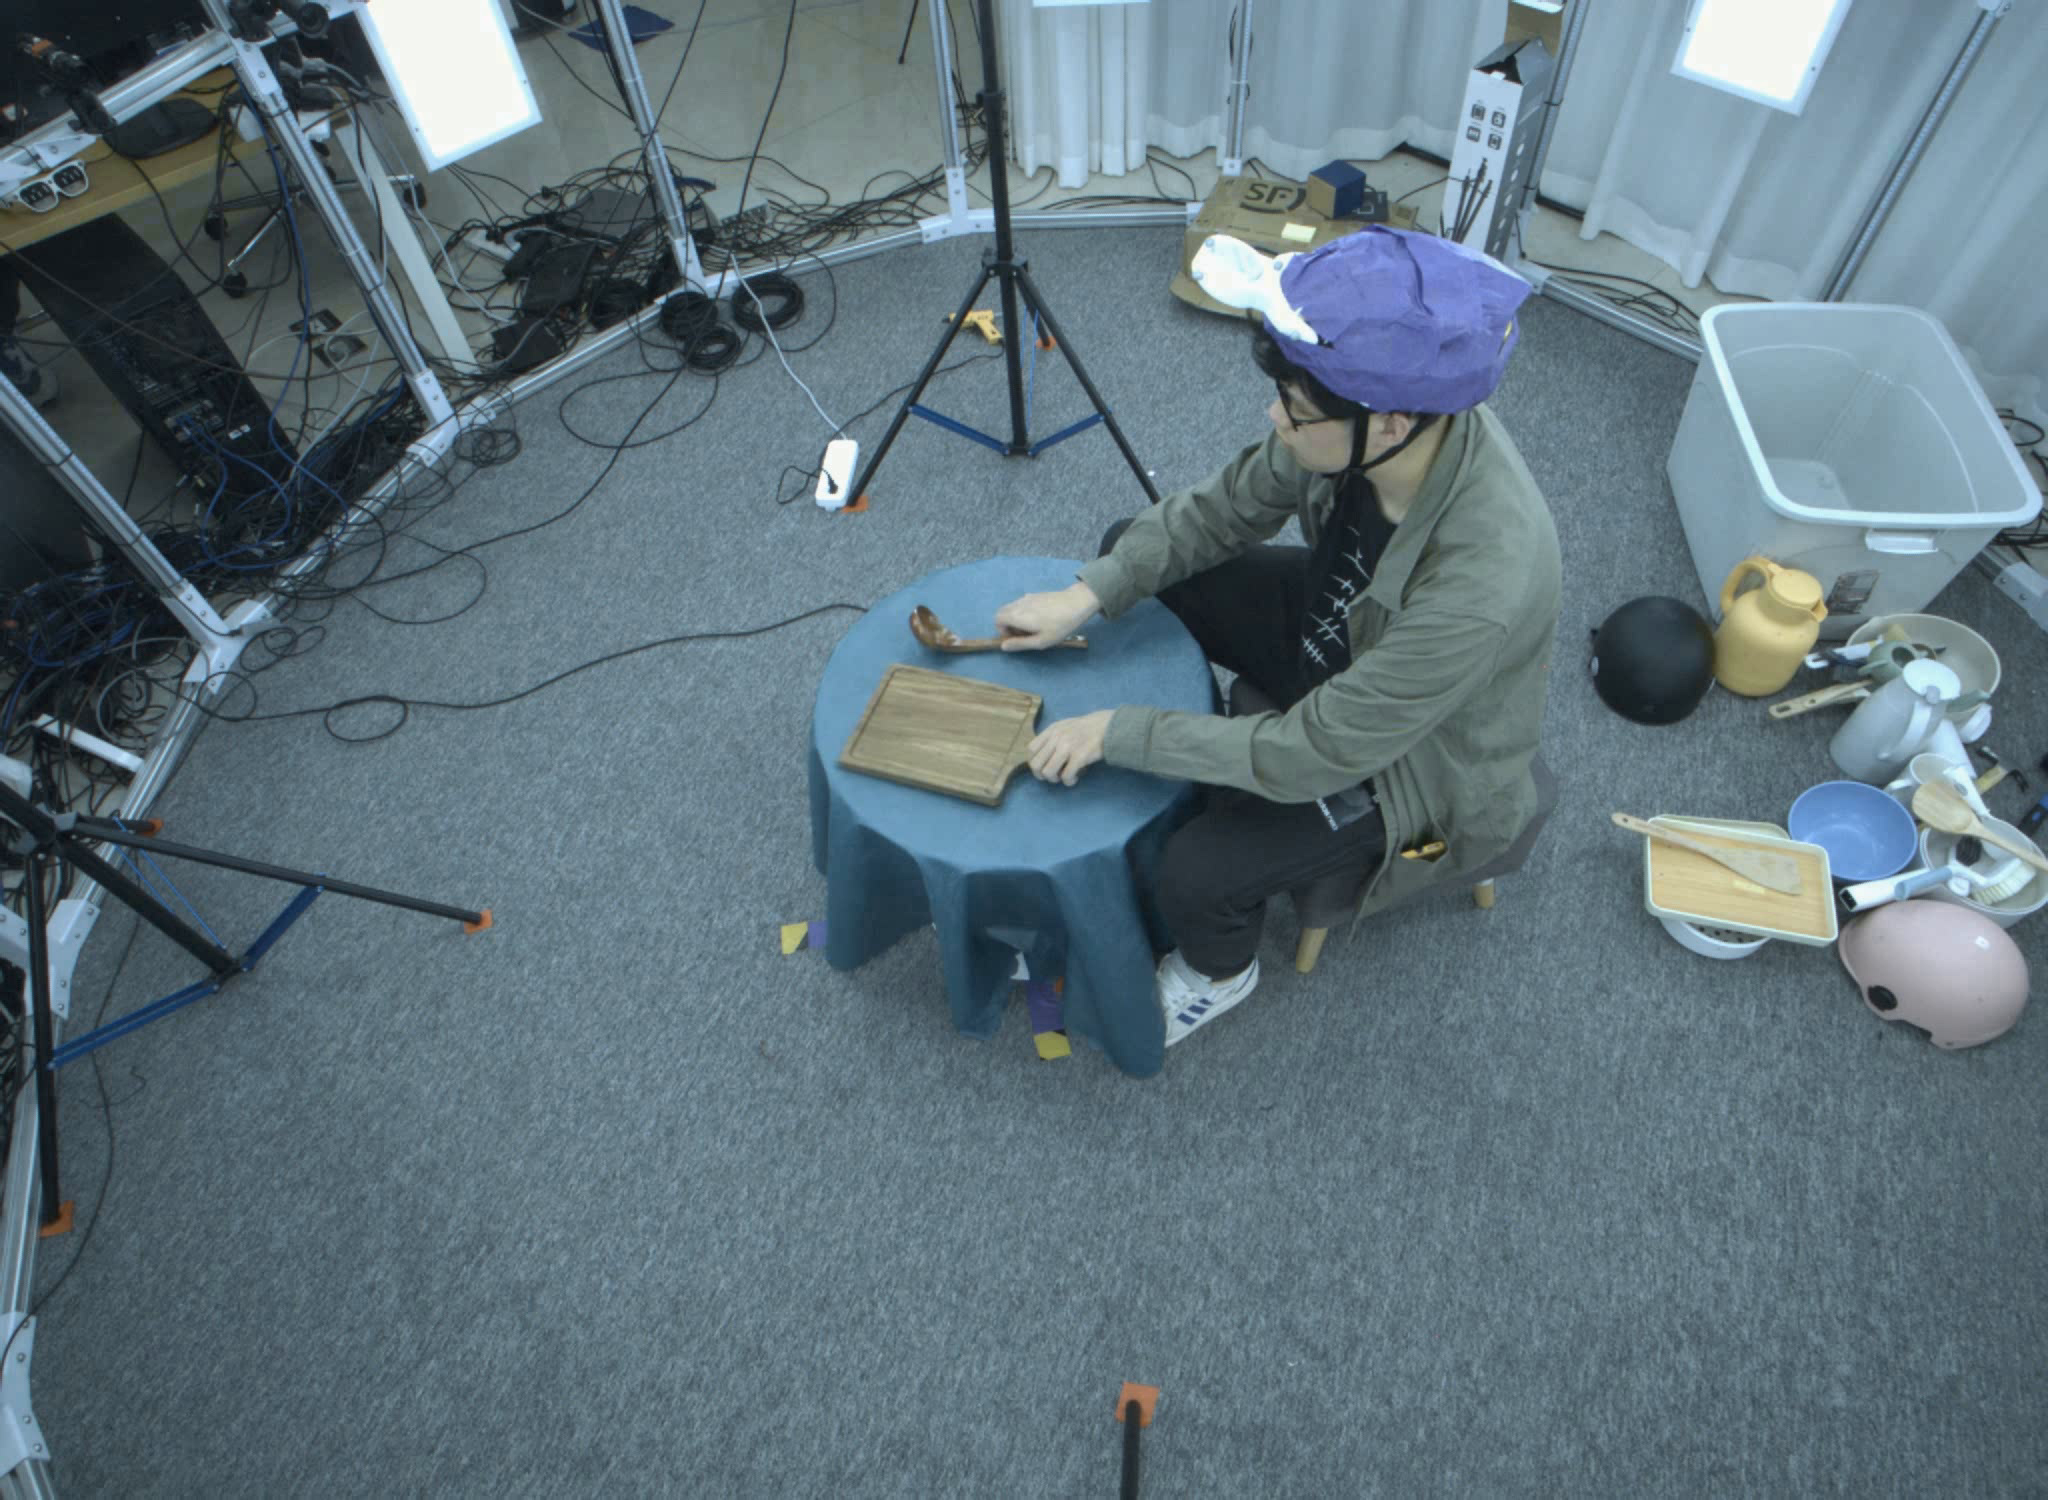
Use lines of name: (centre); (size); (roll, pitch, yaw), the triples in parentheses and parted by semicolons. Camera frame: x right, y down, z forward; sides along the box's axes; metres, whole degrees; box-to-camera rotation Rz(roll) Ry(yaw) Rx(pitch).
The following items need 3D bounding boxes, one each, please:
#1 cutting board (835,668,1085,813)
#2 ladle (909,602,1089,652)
cutting board: (-0.080, -0.007, 1.781); (0.348, 0.023, 0.201); (15, 57, 14)
ladle: (-0.039, -0.190, 1.883); (0.274, 0.077, 0.081); (0, 36, 2)
